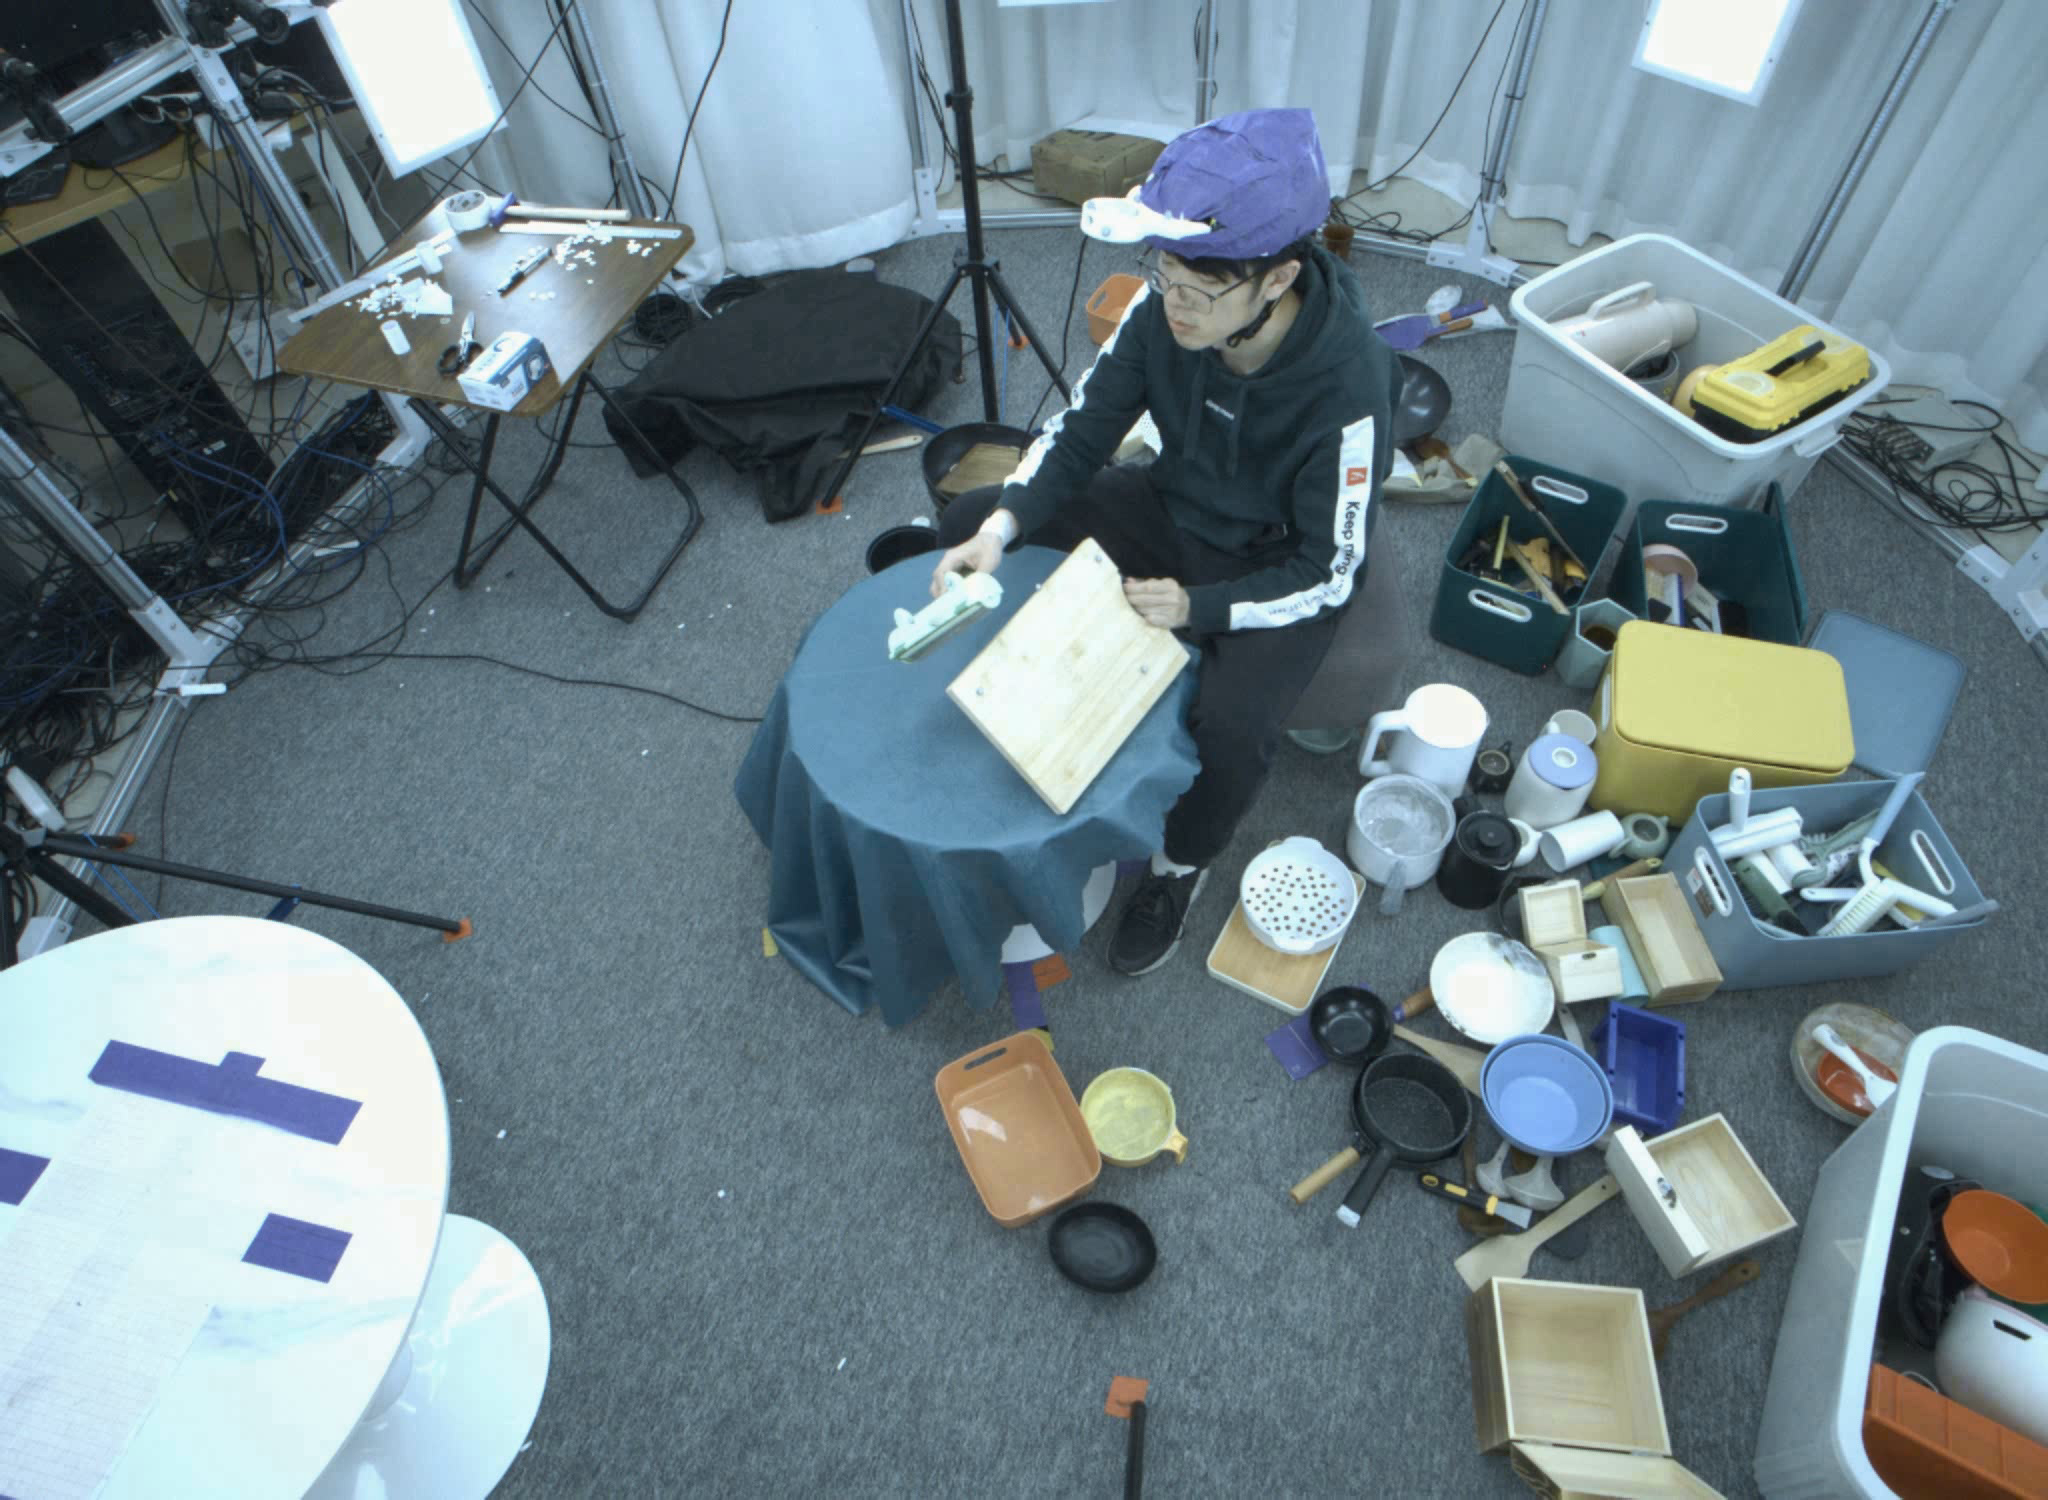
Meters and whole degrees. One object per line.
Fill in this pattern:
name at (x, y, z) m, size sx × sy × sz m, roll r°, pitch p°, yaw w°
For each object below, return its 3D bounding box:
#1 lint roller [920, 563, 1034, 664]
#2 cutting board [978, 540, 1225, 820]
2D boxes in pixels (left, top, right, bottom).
lint roller at (-0.058, -0.222, 1.718) m, size 0.083 × 0.196 × 0.183 m, roll 41°, pitch 47°, yaw -22°
cutting board at (0.118, -0.105, 1.747) m, size 0.254 × 0.023 × 0.350 m, roll 49°, pitch 63°, yaw -17°
